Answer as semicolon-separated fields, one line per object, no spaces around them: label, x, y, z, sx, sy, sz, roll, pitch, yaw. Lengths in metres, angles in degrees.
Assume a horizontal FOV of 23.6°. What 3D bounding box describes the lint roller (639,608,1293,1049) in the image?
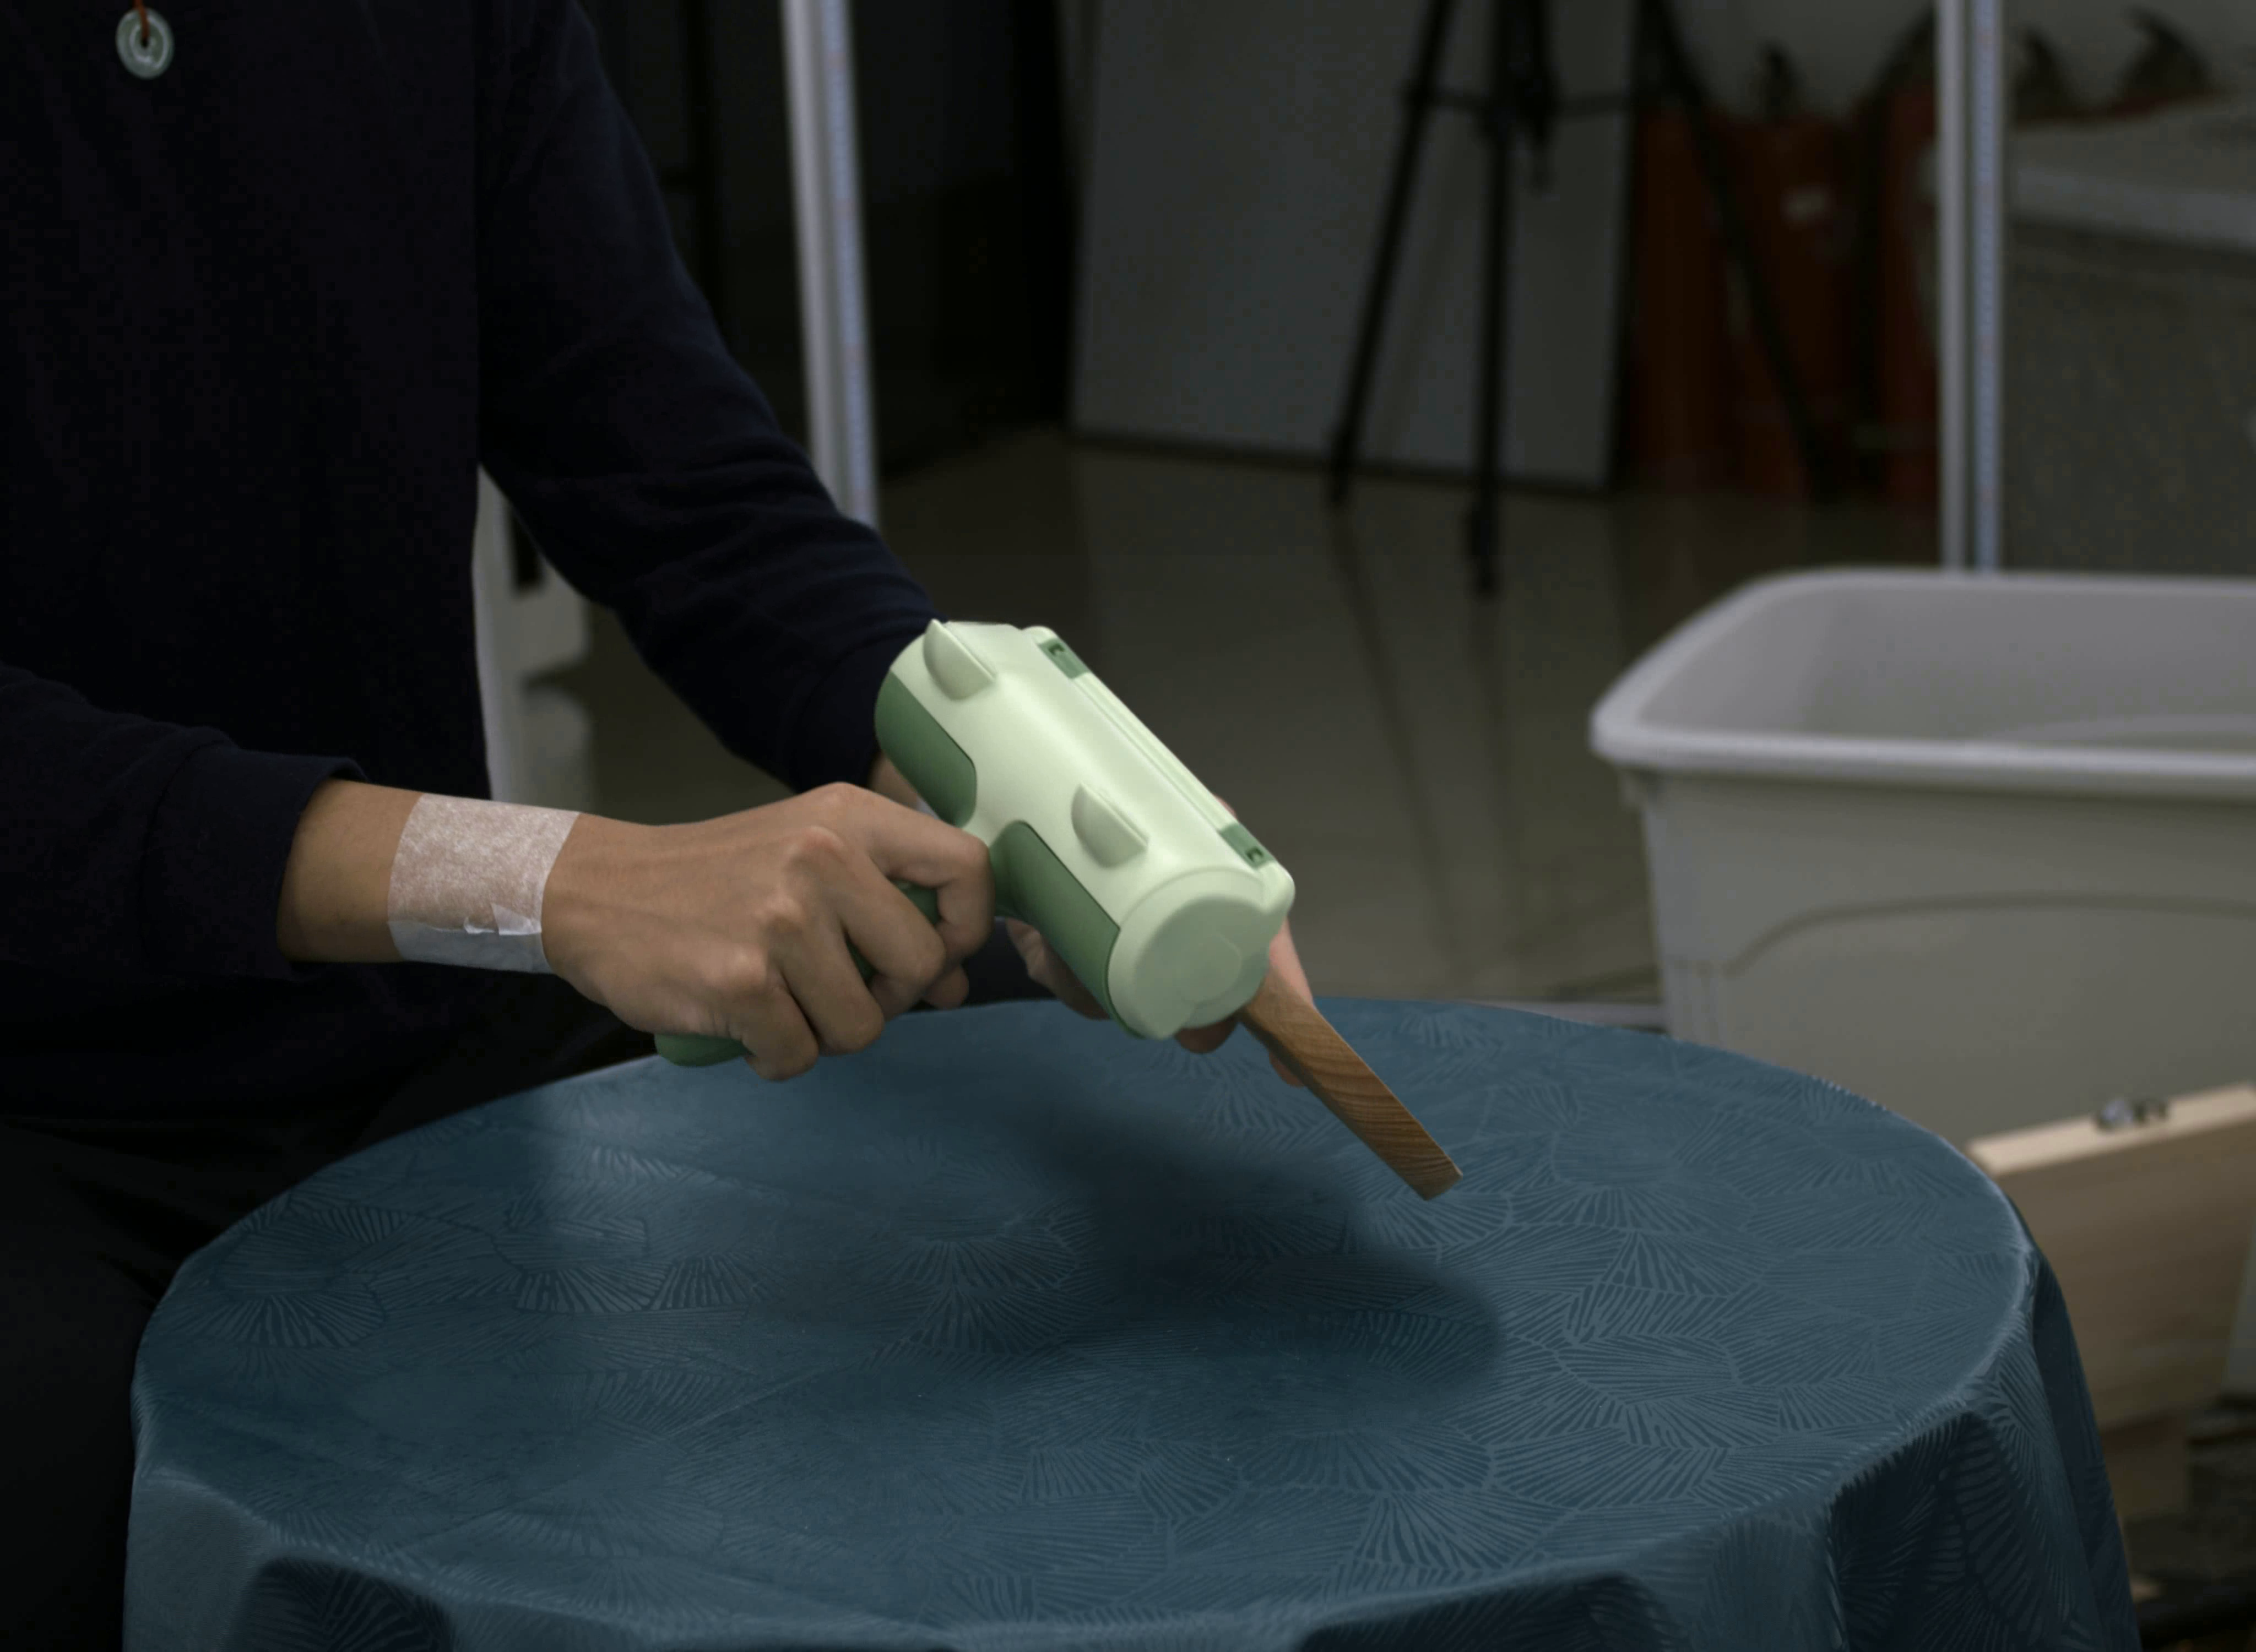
lint roller;-0.069;0.007;1.651;0.180;0.082;0.201;-19;33;-17

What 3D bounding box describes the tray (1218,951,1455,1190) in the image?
tray;0.031;0.044;1.700;0.020;0.101;0.234;-43;38;-4
